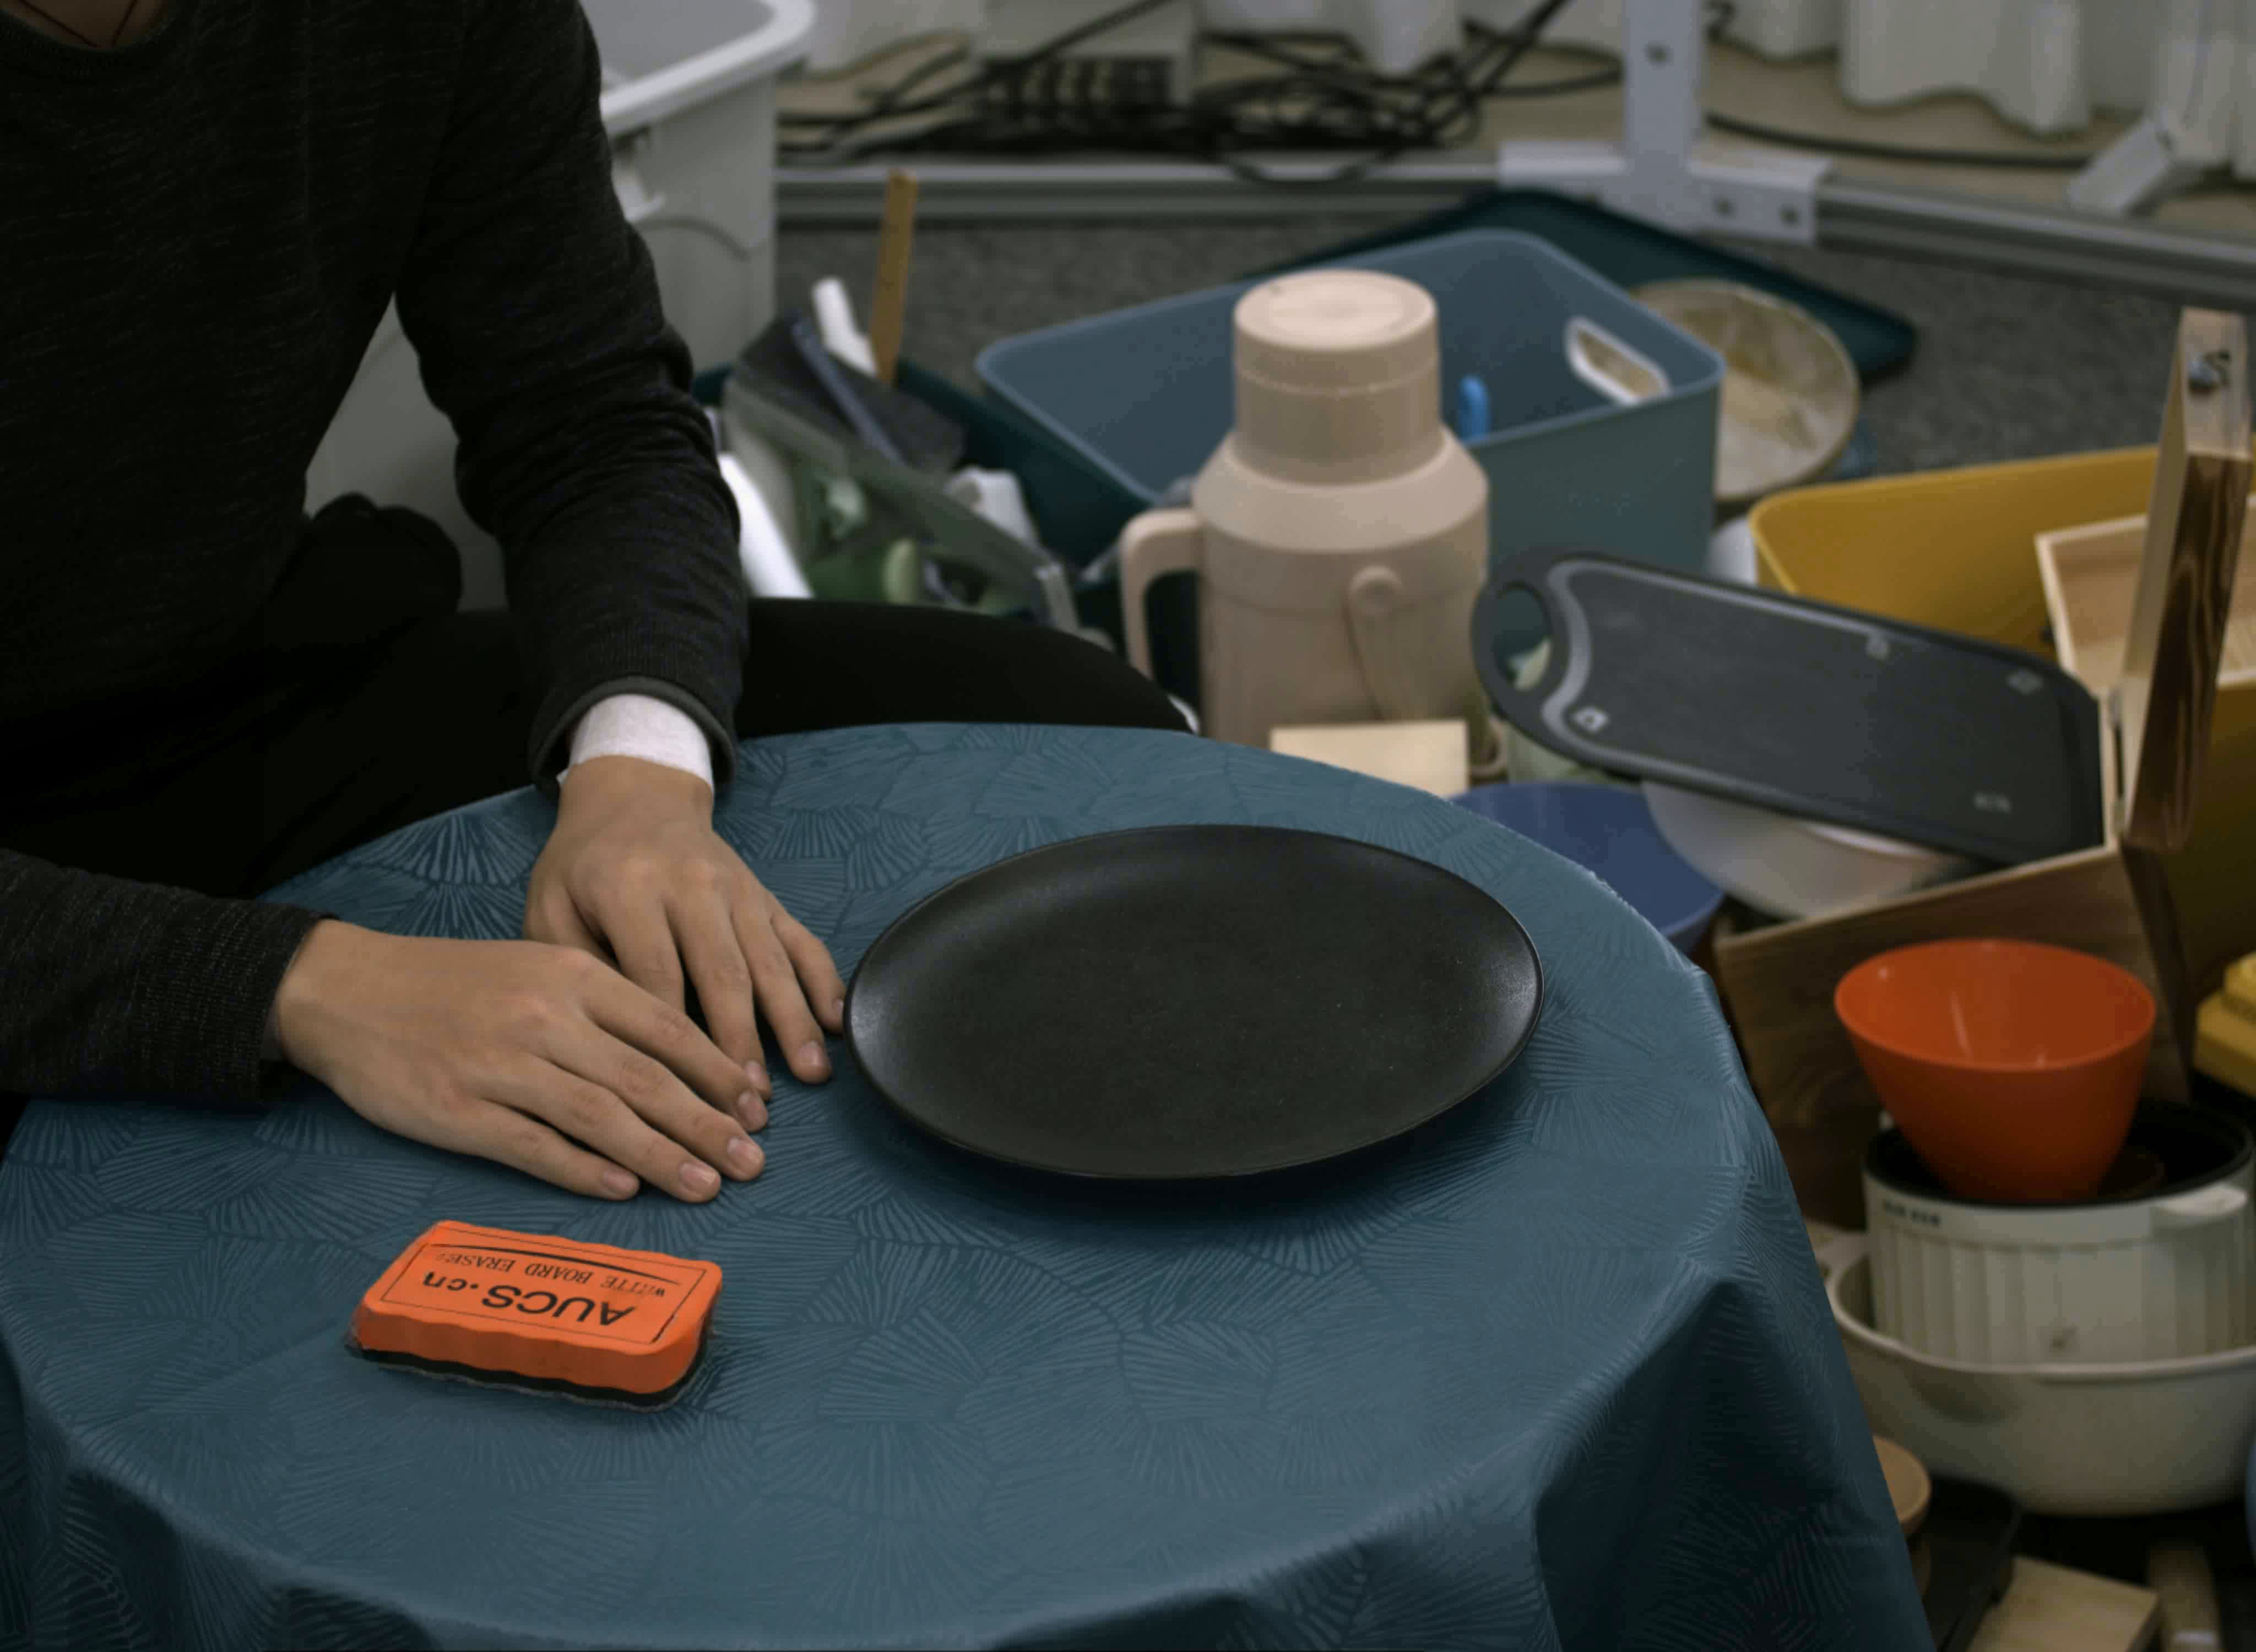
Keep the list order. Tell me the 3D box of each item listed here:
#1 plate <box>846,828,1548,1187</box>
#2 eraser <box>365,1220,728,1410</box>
[{"bbox_3d":[0.024,0.066,1.941,0.243,0.023,0.248,-3,27,2],"label":"plate"},{"bbox_3d":[-0.185,0.156,1.788,0.107,0.022,0.060,8,27,20],"label":"eraser"}]
